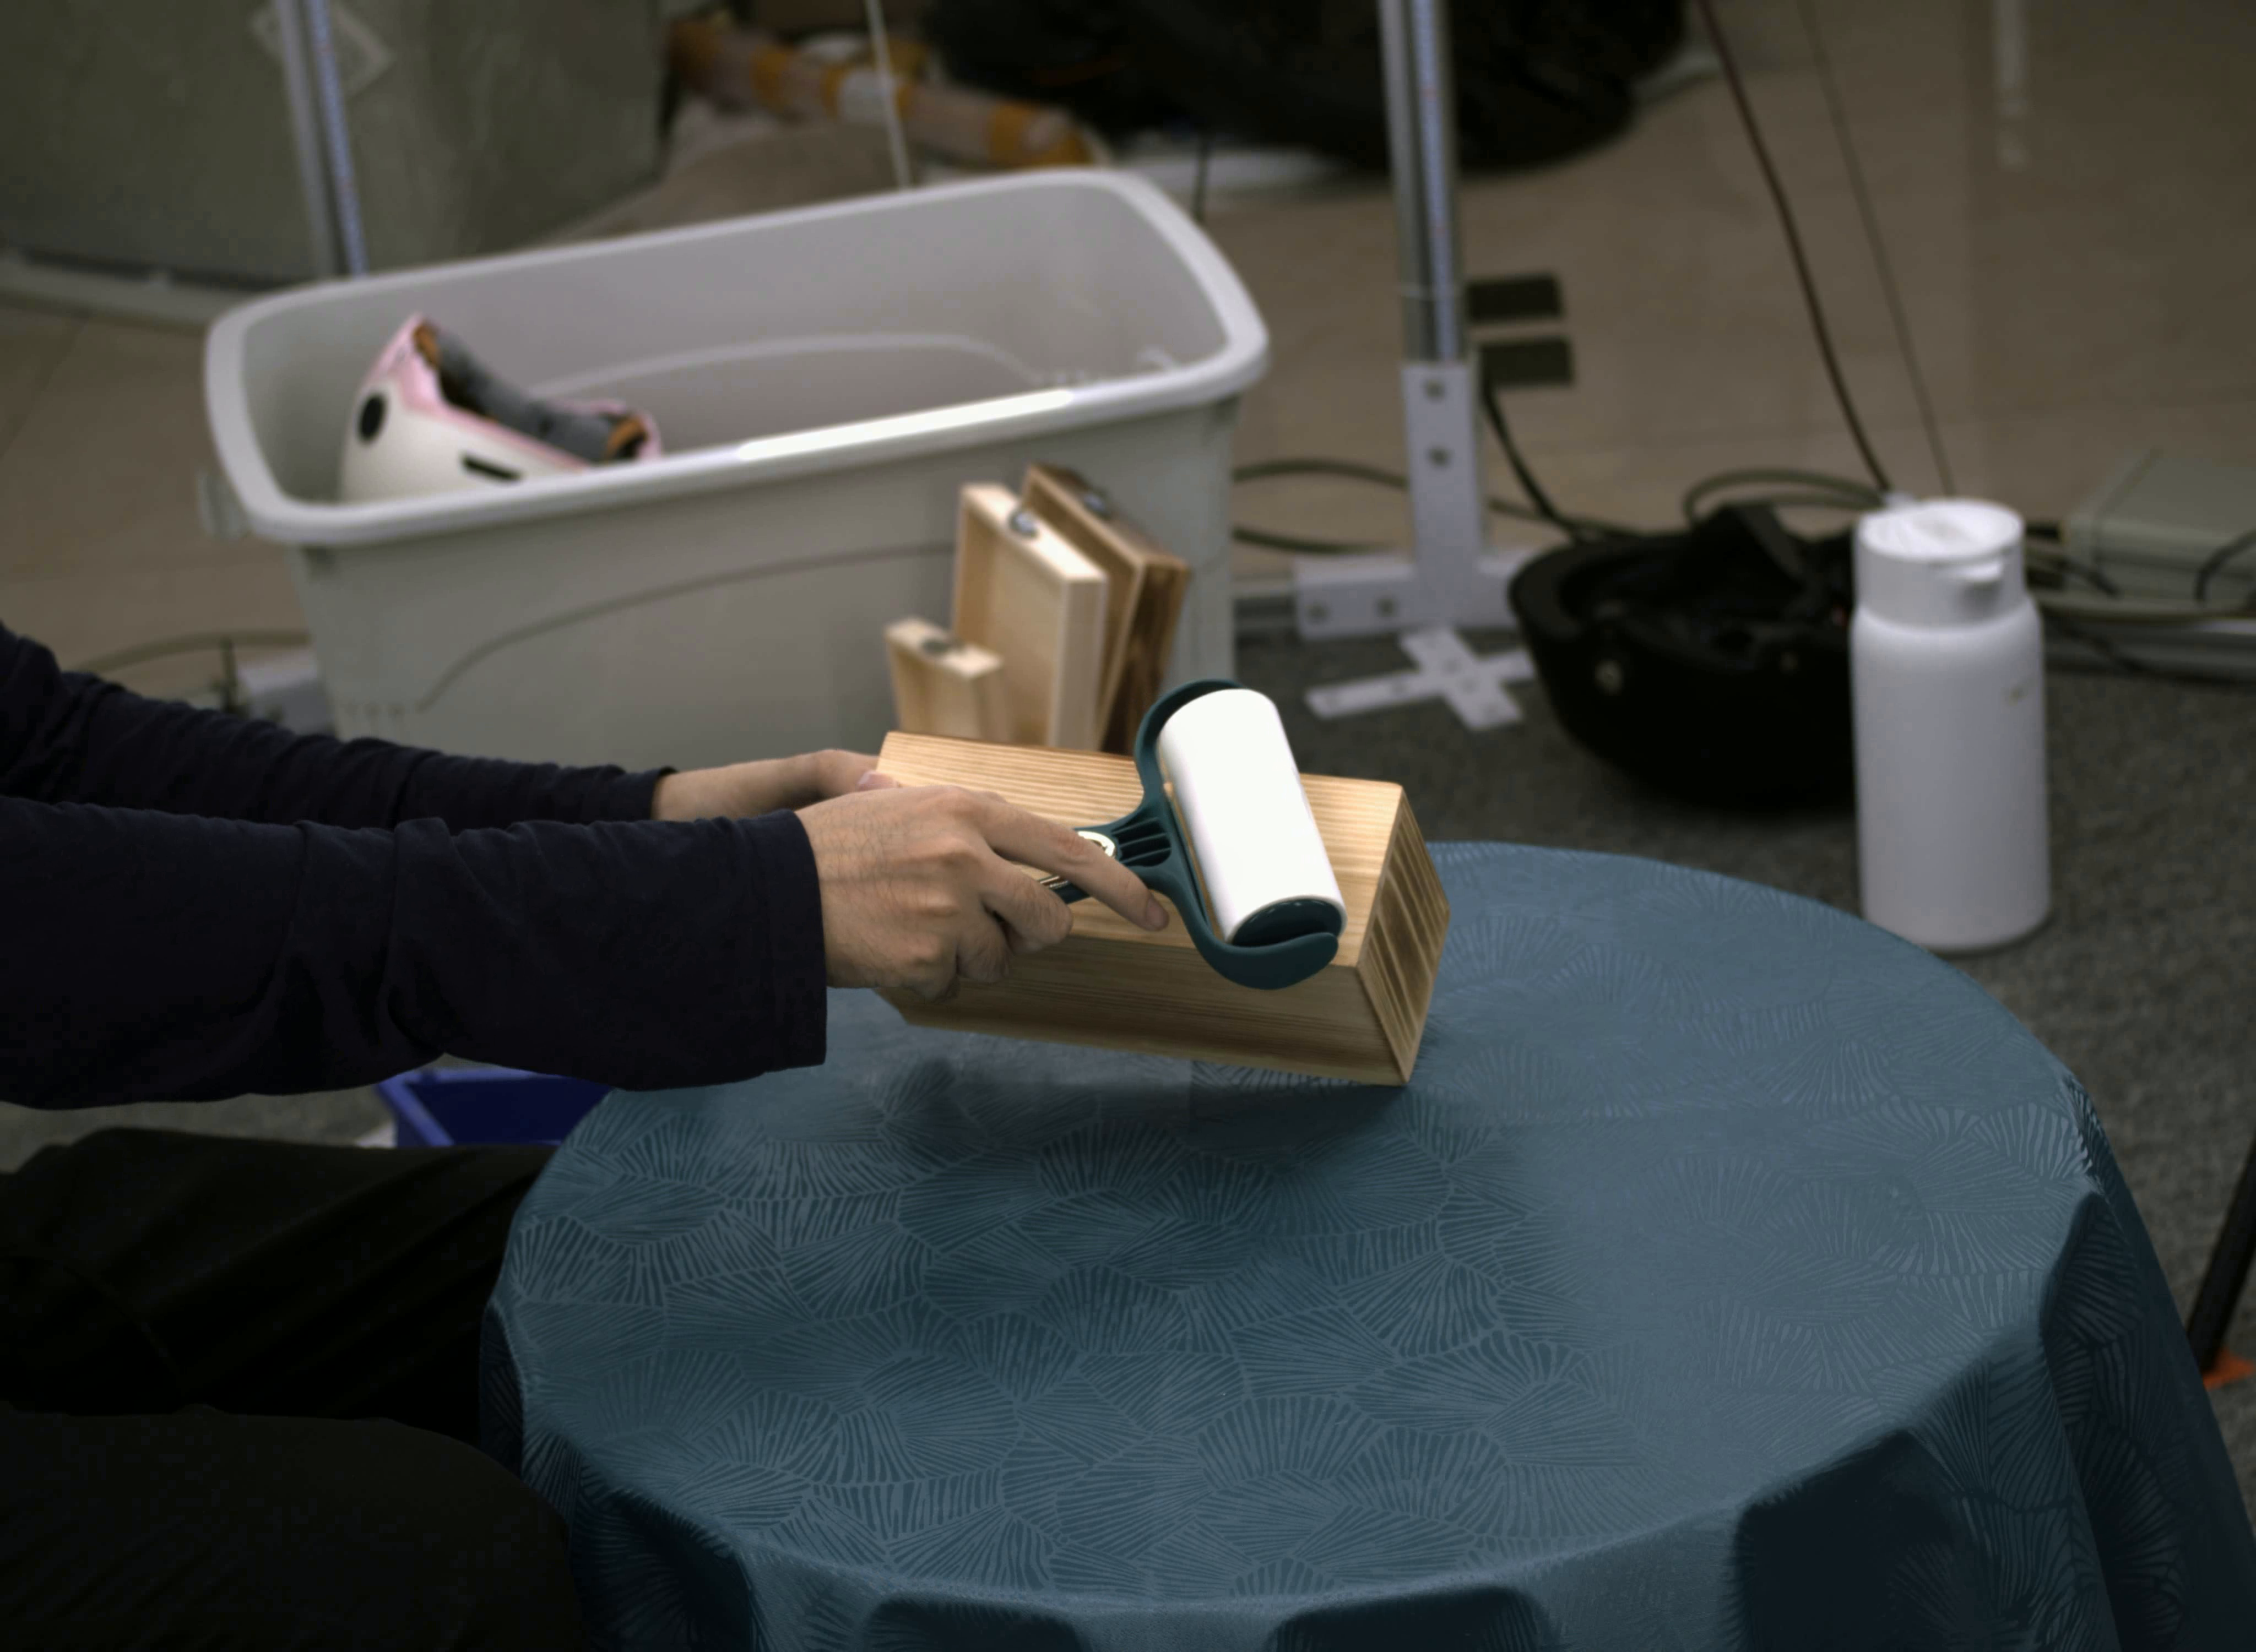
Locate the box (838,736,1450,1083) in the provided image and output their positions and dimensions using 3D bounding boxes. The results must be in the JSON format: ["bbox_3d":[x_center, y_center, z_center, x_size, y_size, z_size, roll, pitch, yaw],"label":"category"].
[{"bbox_3d":[0.008,0.032,2.207,0.211,0.109,0.079,6,64,17],"label":"box"}]

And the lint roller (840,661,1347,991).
[{"bbox_3d":[-0.018,0.011,2.099,0.179,0.049,0.132,-9,56,-13],"label":"lint roller"}]
